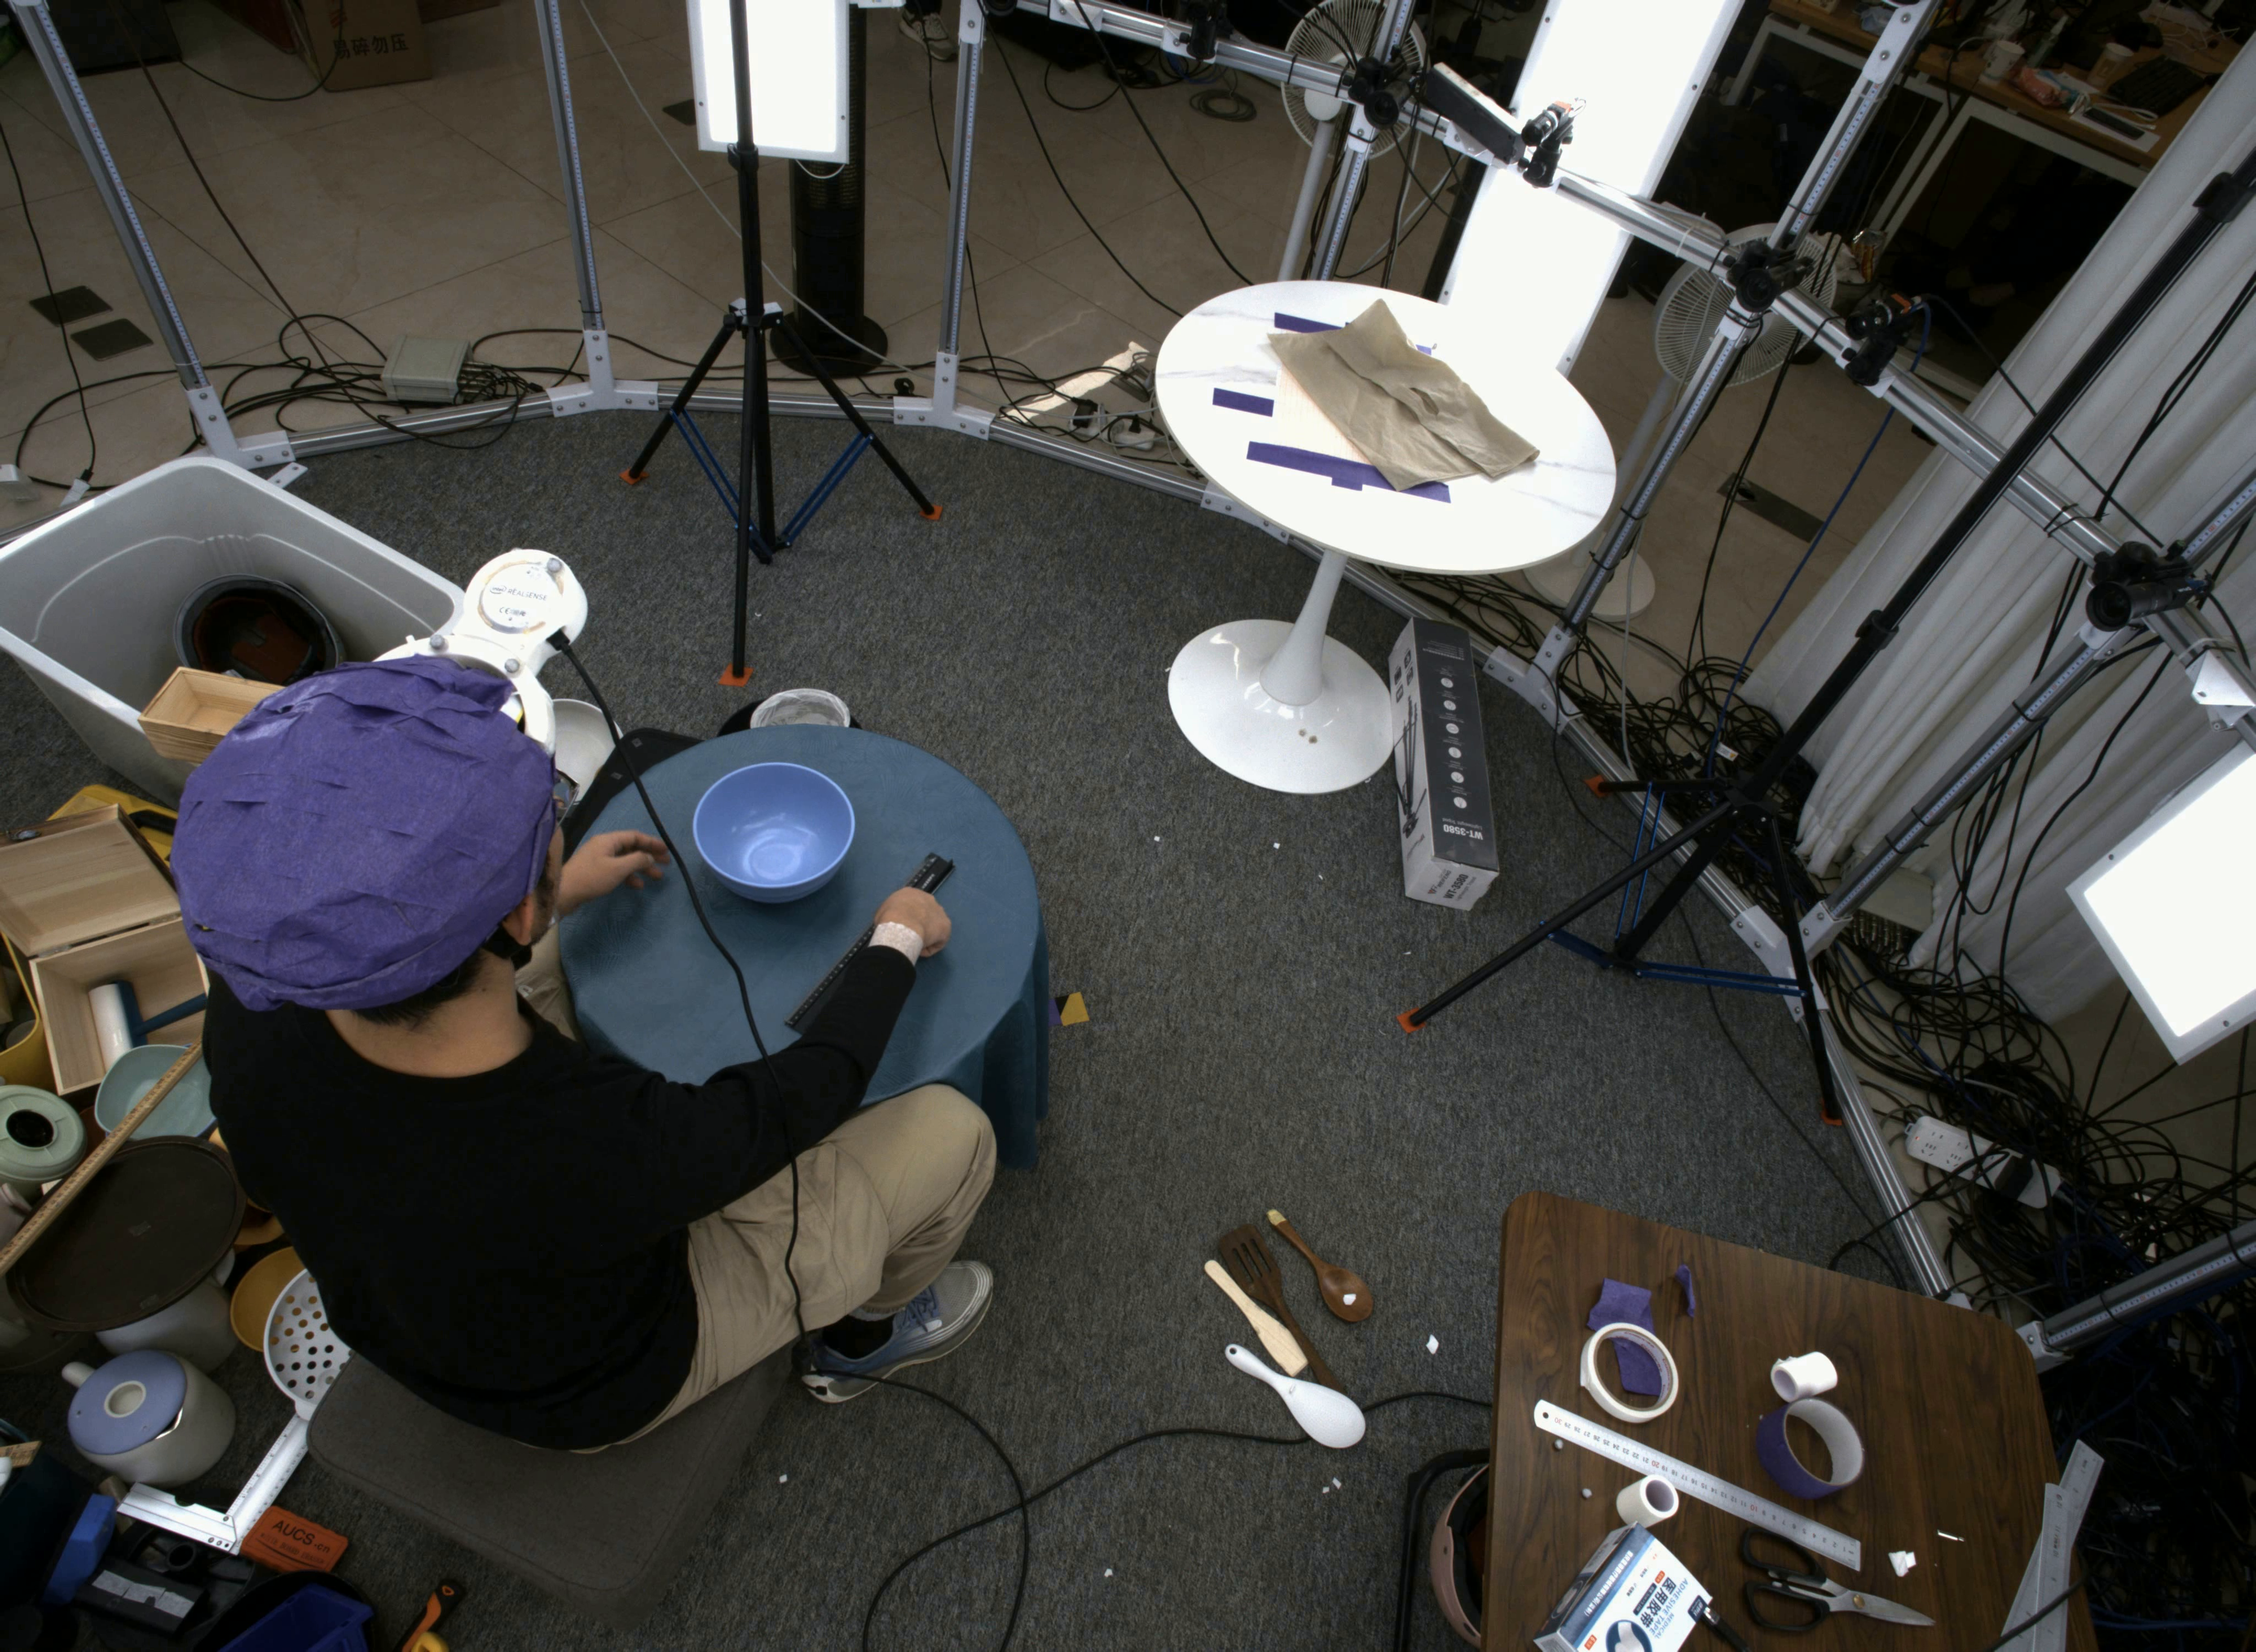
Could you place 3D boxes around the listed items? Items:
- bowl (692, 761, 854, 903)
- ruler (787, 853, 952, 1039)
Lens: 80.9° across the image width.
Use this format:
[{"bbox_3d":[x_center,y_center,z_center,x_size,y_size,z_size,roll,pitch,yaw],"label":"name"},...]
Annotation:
[{"bbox_3d":[-0.445,0.022,1.635,0.196,0.097,0.193,8,51,-8],"label":"bowl"},{"bbox_3d":[-0.319,0.138,1.631,0.038,0.017,0.311,30,52,9],"label":"ruler"}]
